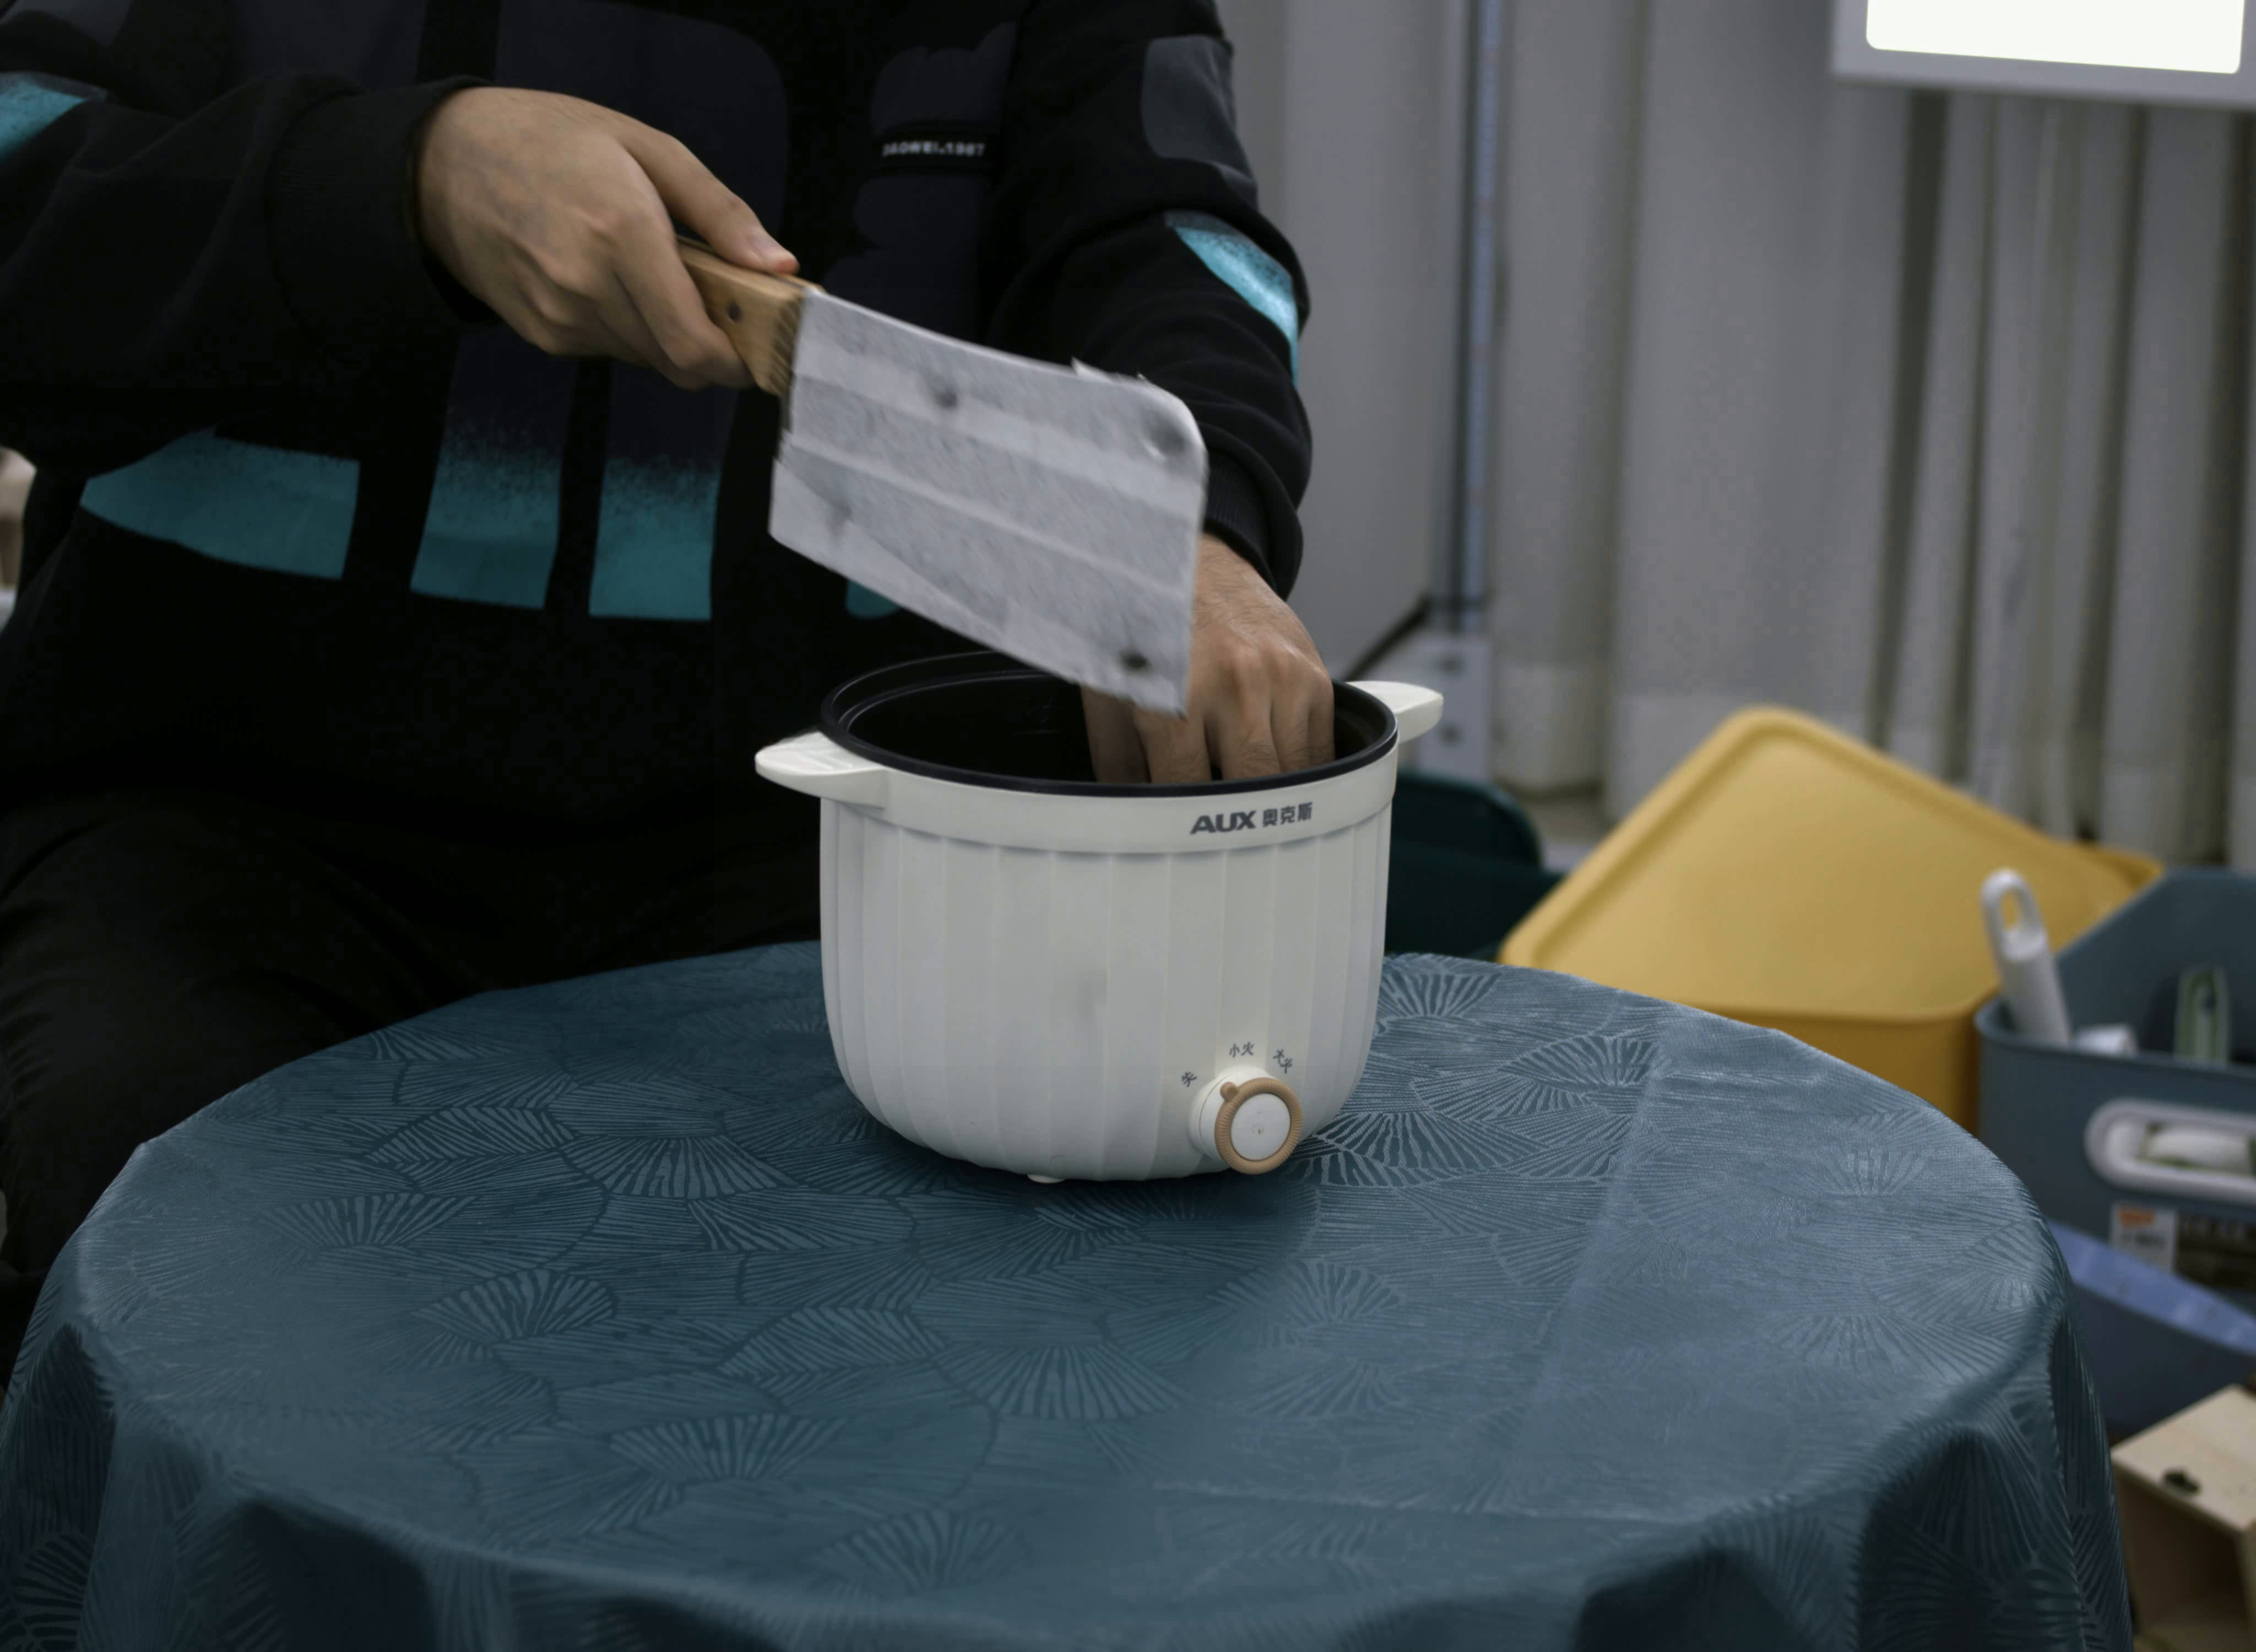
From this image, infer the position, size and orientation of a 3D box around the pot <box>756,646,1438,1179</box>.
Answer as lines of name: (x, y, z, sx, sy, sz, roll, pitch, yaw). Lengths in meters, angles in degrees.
pot: (-0.004, 0.029, 1.656, 0.241, 0.144, 0.188, -8, 15, -29)

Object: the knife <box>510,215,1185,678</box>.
knife: (-0.090, -0.136, 1.670, 0.311, 0.115, 0.022, 27, 28, 36)
